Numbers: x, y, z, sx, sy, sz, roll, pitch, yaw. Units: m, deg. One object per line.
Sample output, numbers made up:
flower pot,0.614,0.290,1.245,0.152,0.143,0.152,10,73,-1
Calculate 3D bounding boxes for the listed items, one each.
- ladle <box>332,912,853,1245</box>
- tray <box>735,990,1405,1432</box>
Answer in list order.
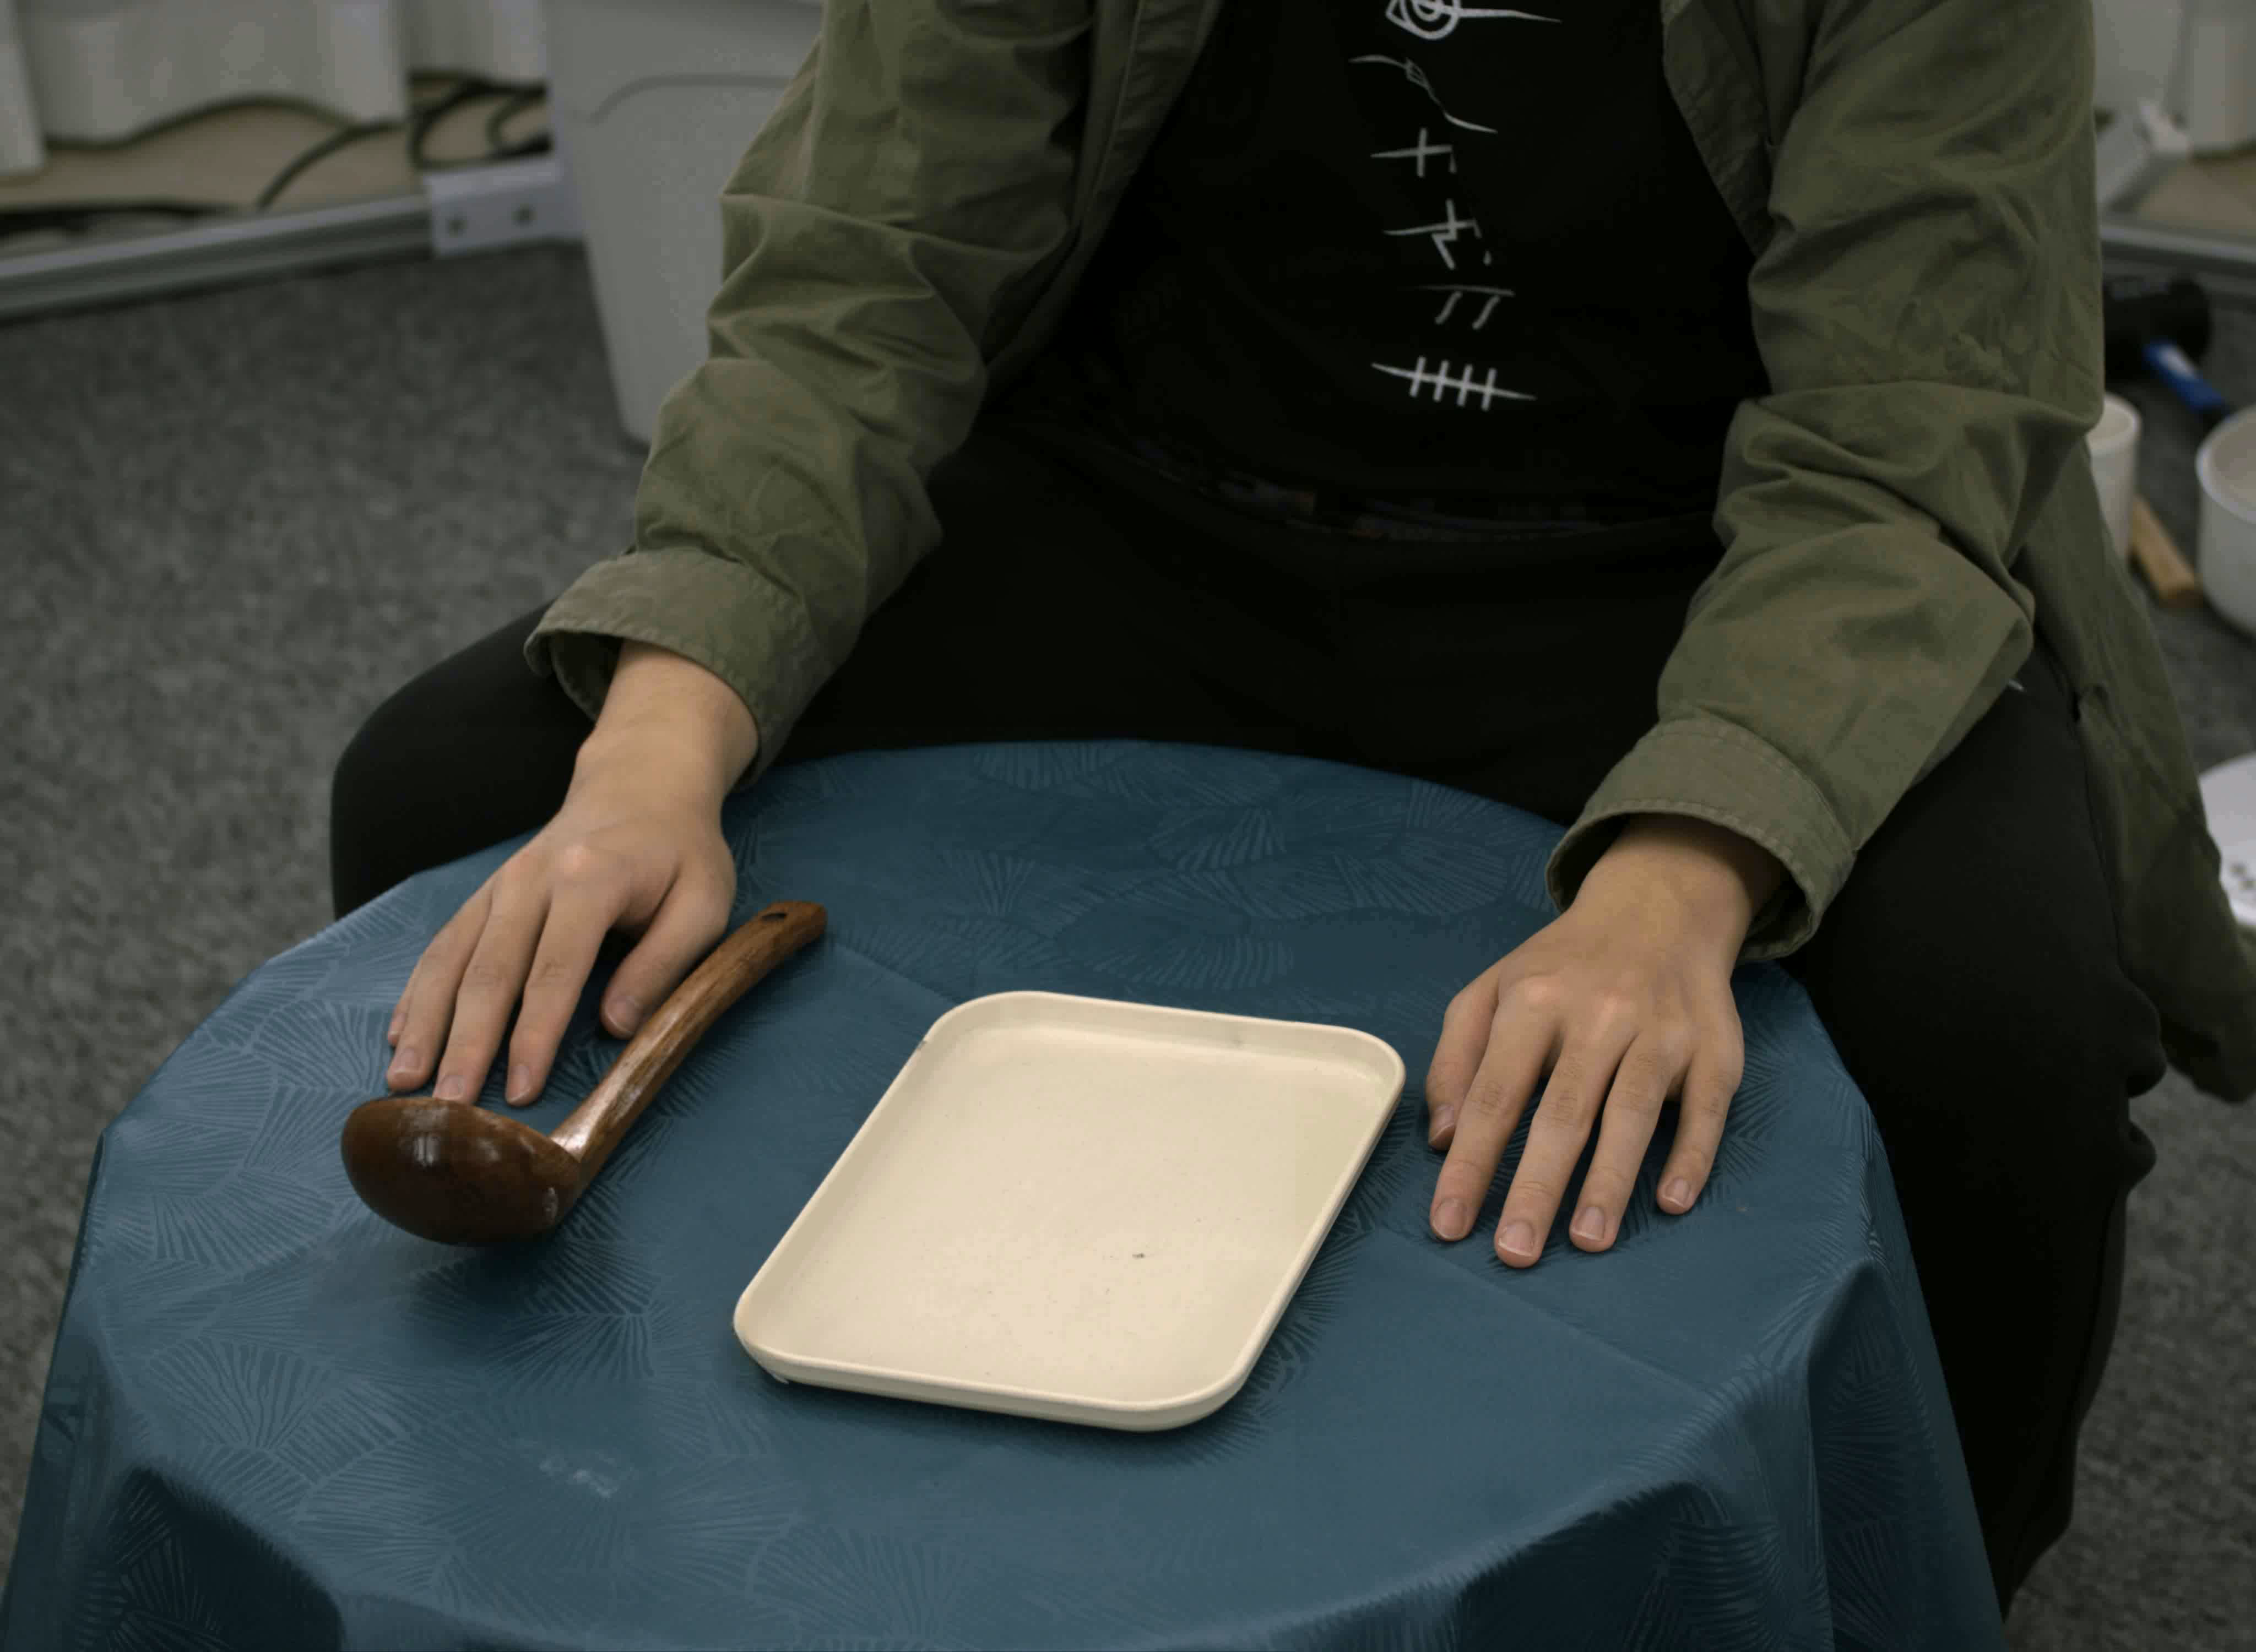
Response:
ladle,-0.174,0.065,1.903,0.081,0.076,0.278,5,27,26
tray,-0.015,0.124,1.833,0.170,0.017,0.244,7,29,17
